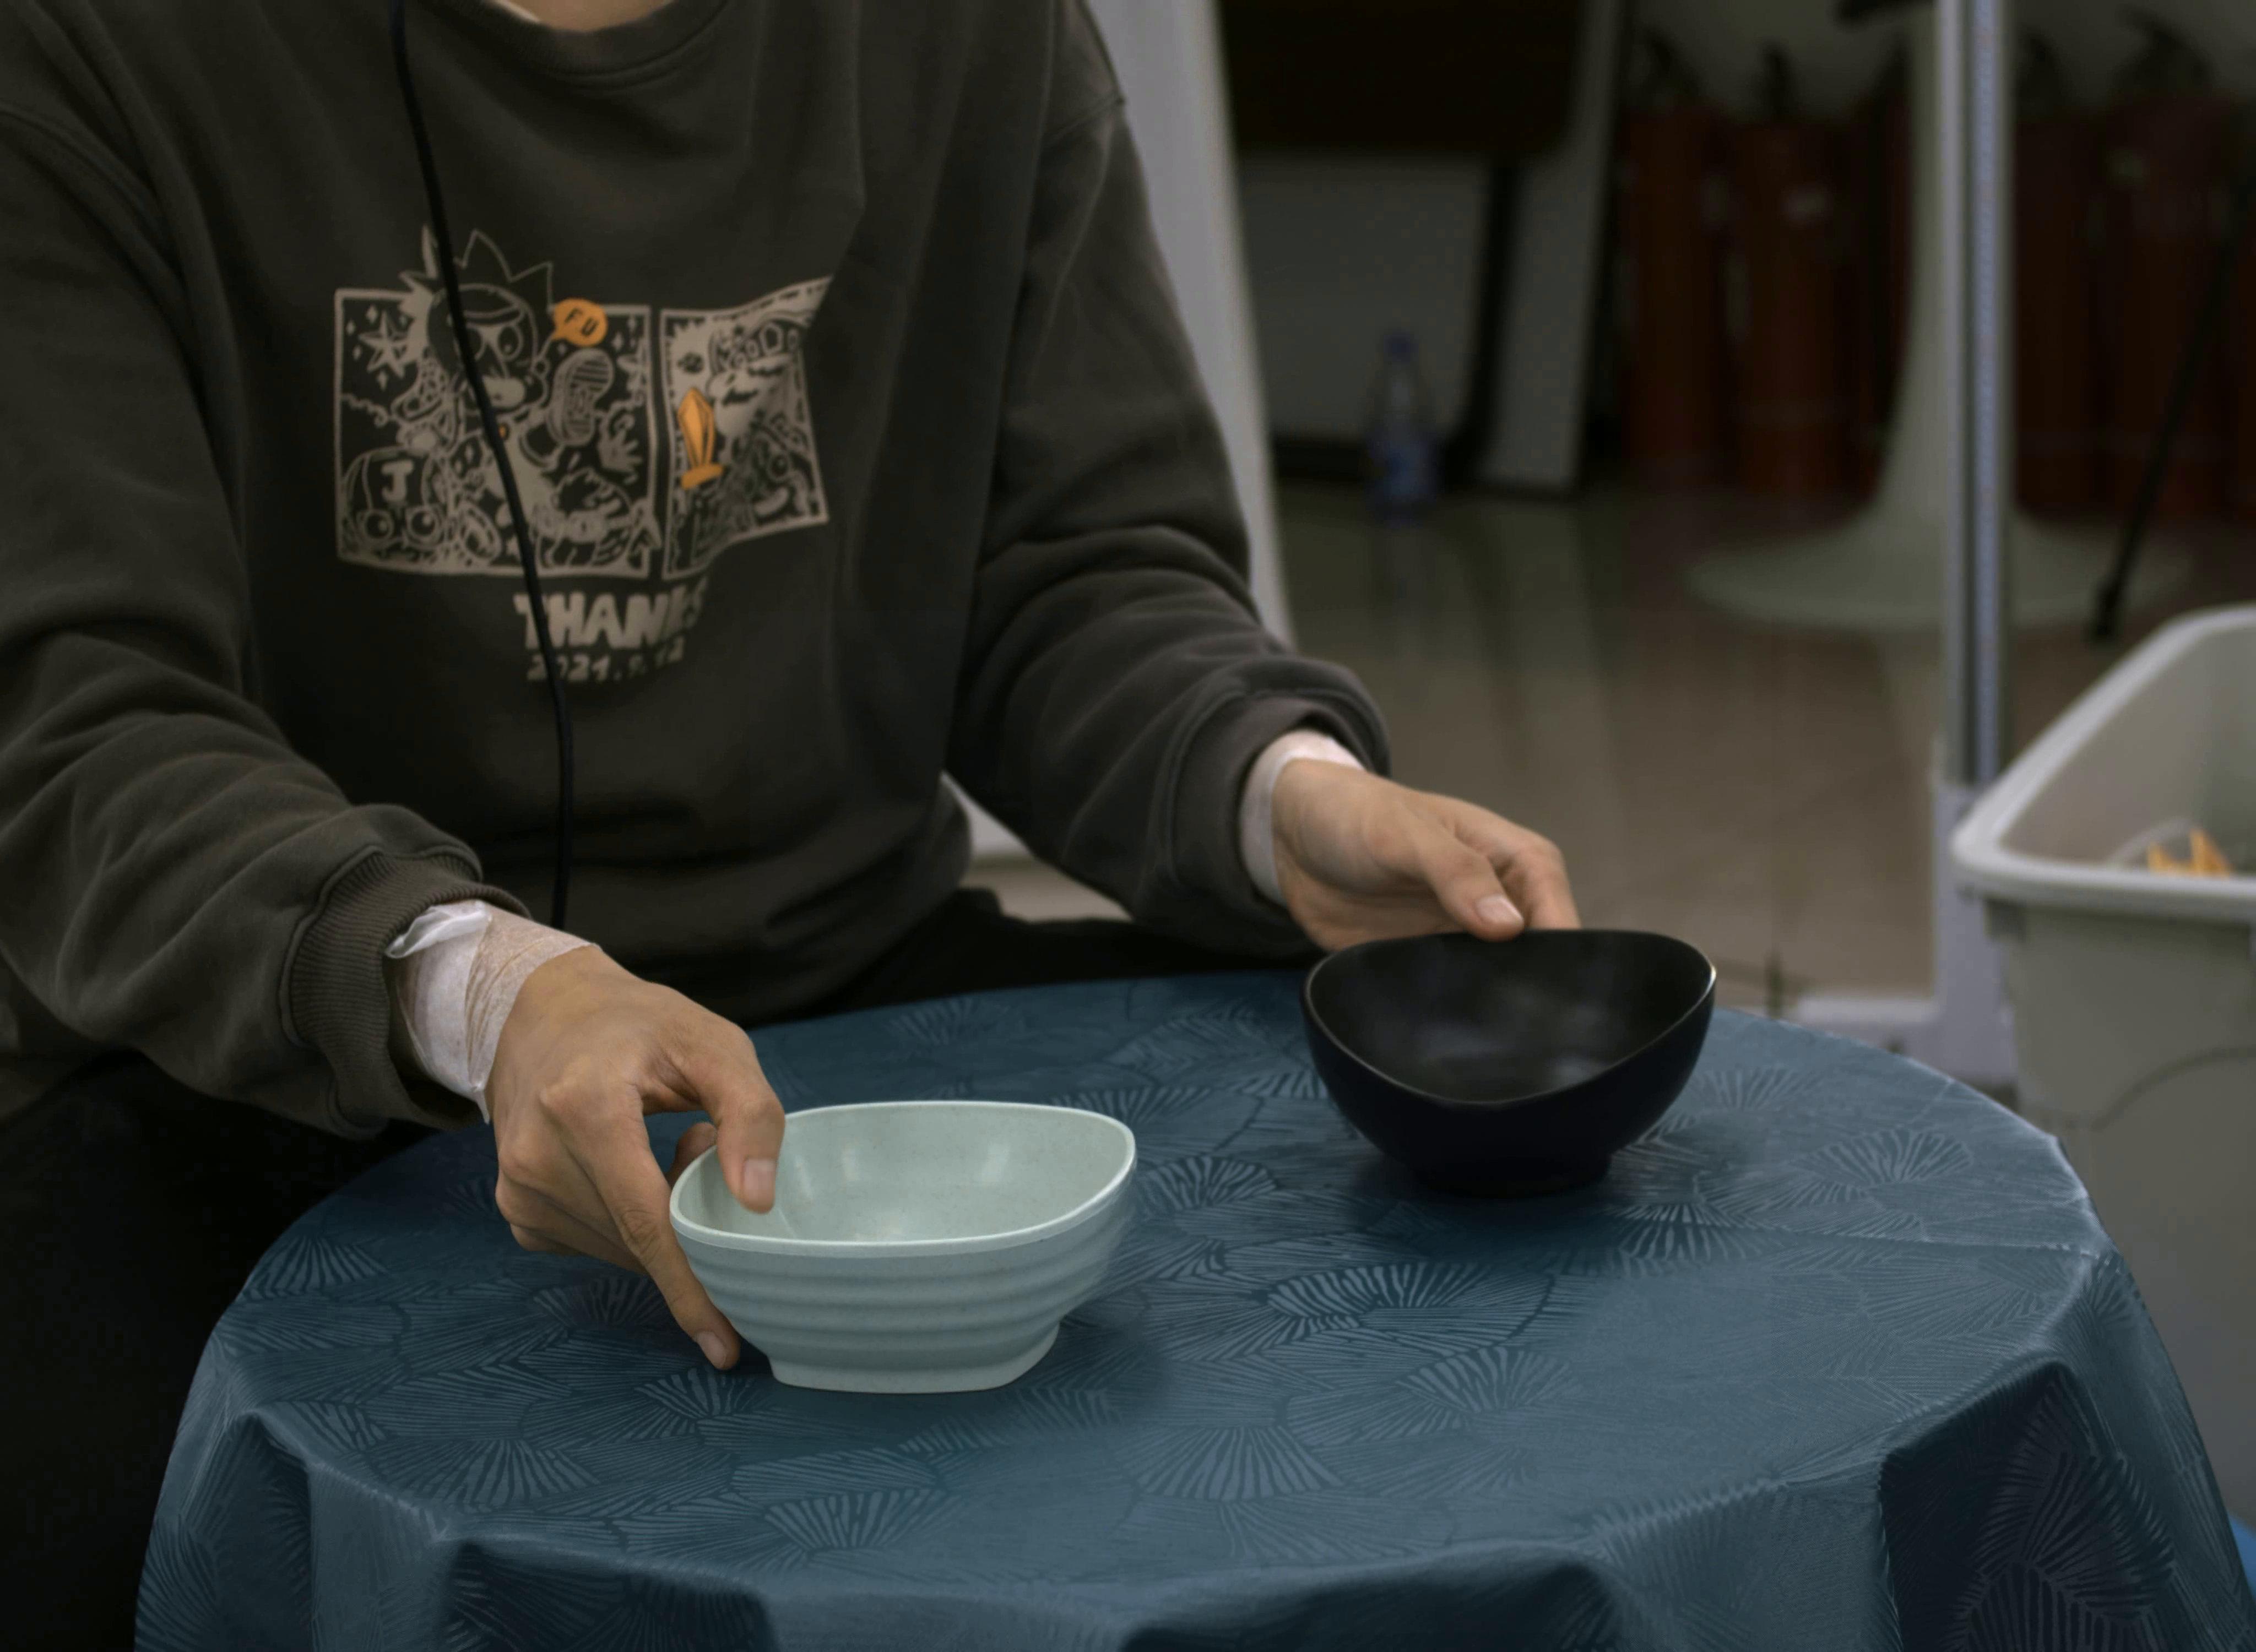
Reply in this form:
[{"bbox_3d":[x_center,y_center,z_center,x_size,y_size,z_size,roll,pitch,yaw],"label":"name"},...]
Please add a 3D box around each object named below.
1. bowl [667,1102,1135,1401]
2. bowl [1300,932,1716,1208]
[{"bbox_3d":[-0.067,0.132,1.632,0.149,0.059,0.152,-2,14,0],"label":"bowl"},{"bbox_3d":[0.125,0.083,1.762,0.136,0.067,0.170,-2,15,8],"label":"bowl"}]
